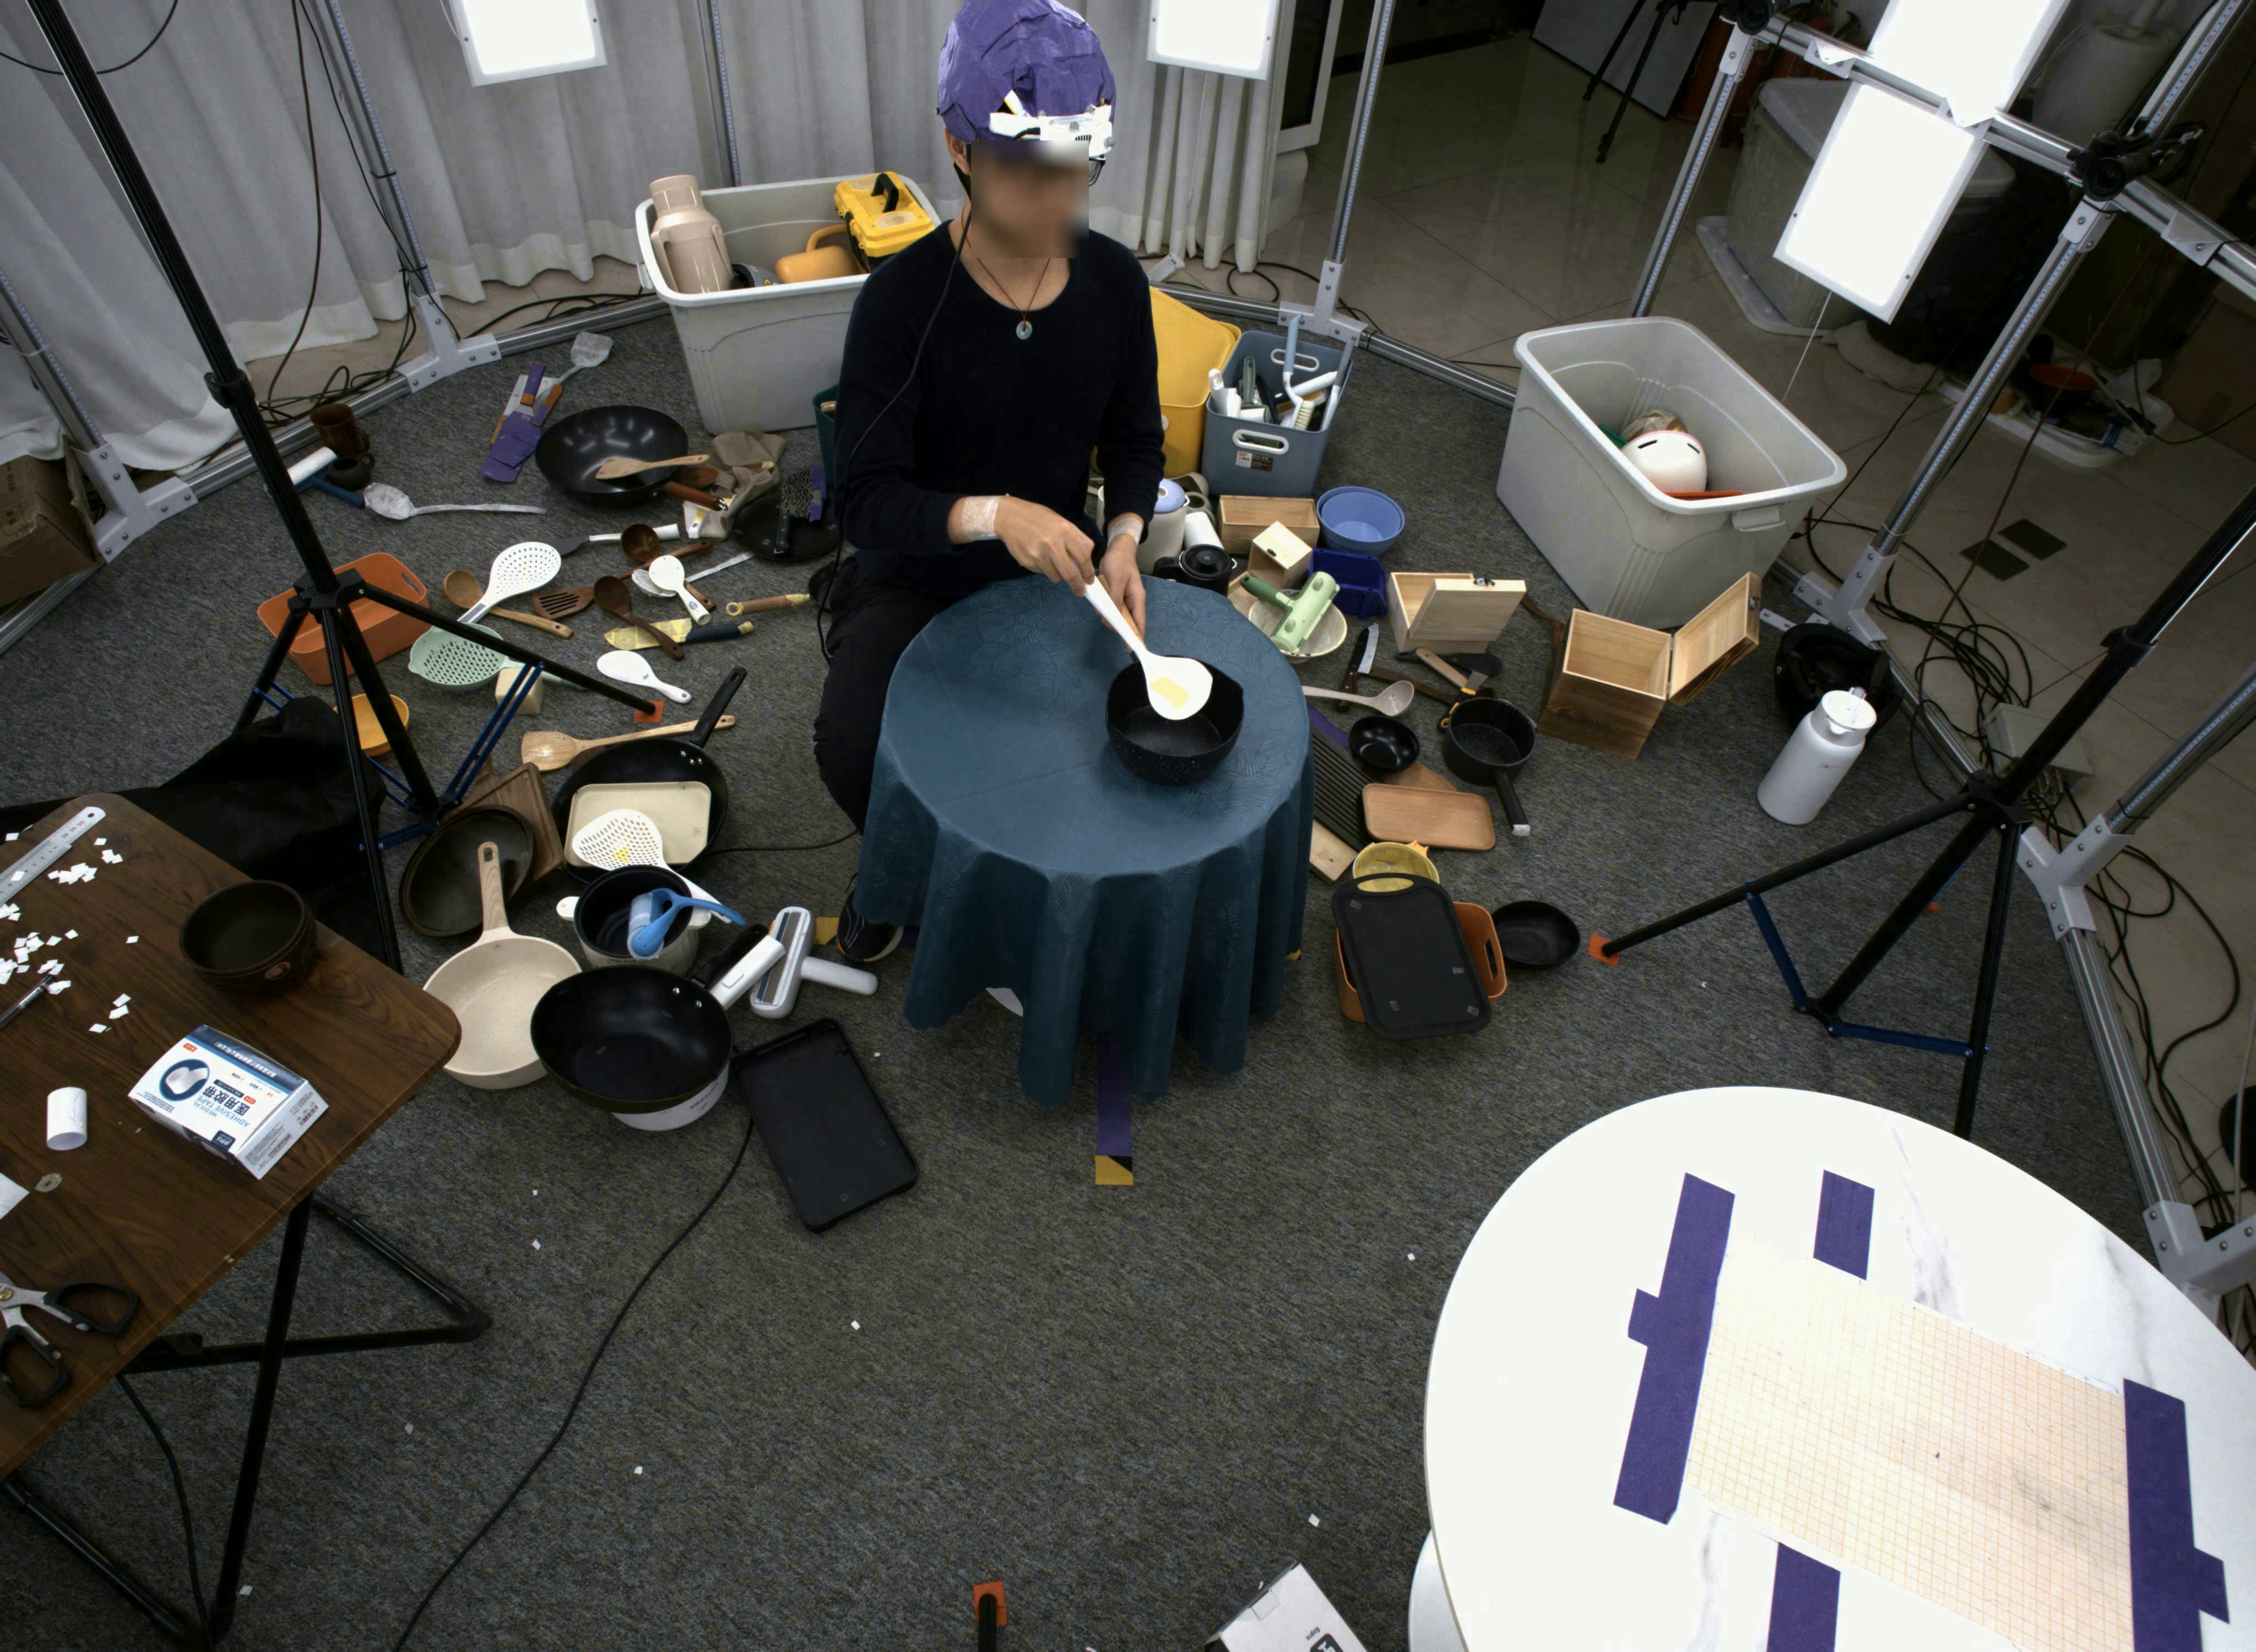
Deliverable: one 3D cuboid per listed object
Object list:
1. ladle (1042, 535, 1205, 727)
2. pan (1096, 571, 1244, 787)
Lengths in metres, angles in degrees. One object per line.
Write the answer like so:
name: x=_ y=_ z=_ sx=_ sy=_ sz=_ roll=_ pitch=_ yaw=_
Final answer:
ladle: x=-0.007 y=-0.251 z=1.654 sx=0.090 sy=0.287 sz=0.071 roll=-42 pitch=30 yaw=-3
pan: x=0.027 y=-0.203 z=1.770 sx=0.208 sy=0.106 sz=0.350 roll=-18 pitch=56 yaw=-18
